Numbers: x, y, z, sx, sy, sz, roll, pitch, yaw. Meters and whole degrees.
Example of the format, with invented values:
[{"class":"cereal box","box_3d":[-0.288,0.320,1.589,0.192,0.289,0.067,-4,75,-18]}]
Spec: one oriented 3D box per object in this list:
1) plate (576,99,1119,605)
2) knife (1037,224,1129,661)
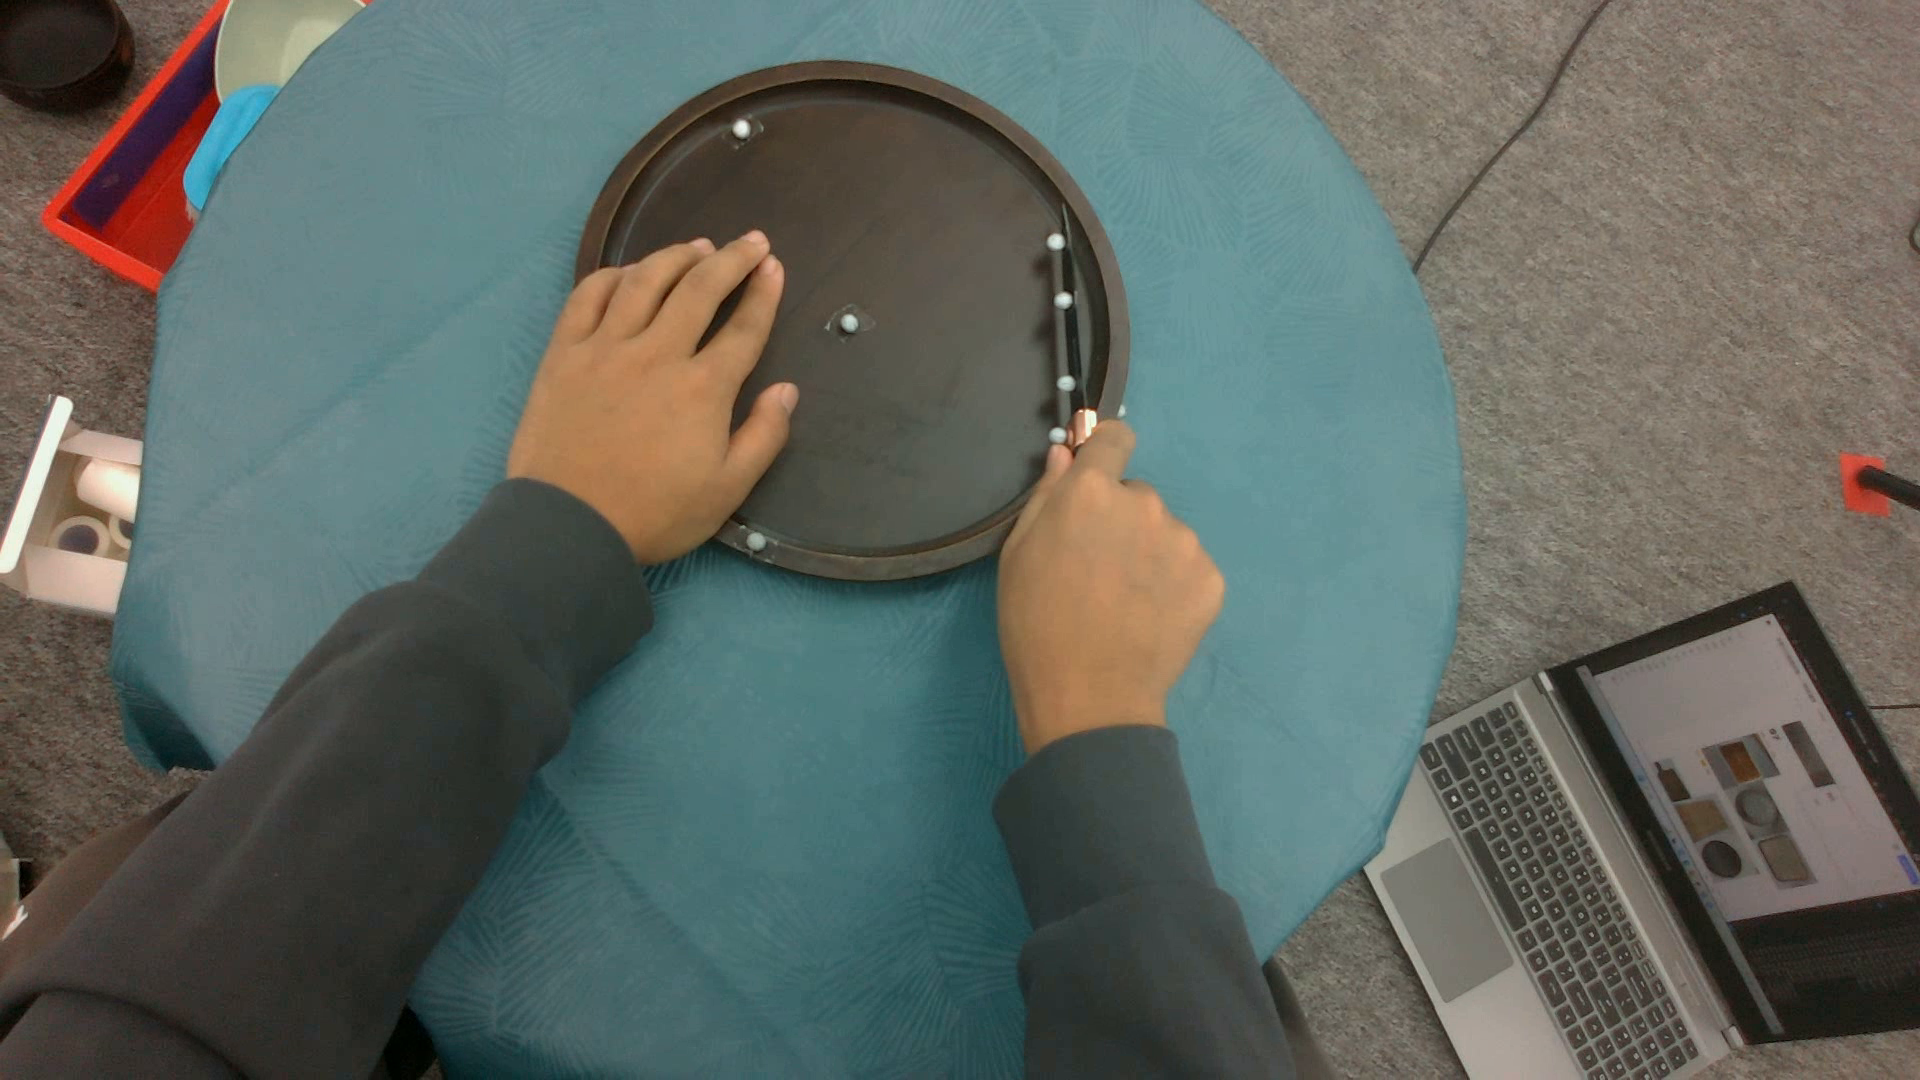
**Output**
[{"class":"plate","box_3d":[-0.049,-0.092,0.647,0.255,0.029,0.255,3,75,-10]},{"class":"knife","box_3d":[0.054,-0.052,0.635,0.017,0.026,0.226,-2,70,-13]}]
